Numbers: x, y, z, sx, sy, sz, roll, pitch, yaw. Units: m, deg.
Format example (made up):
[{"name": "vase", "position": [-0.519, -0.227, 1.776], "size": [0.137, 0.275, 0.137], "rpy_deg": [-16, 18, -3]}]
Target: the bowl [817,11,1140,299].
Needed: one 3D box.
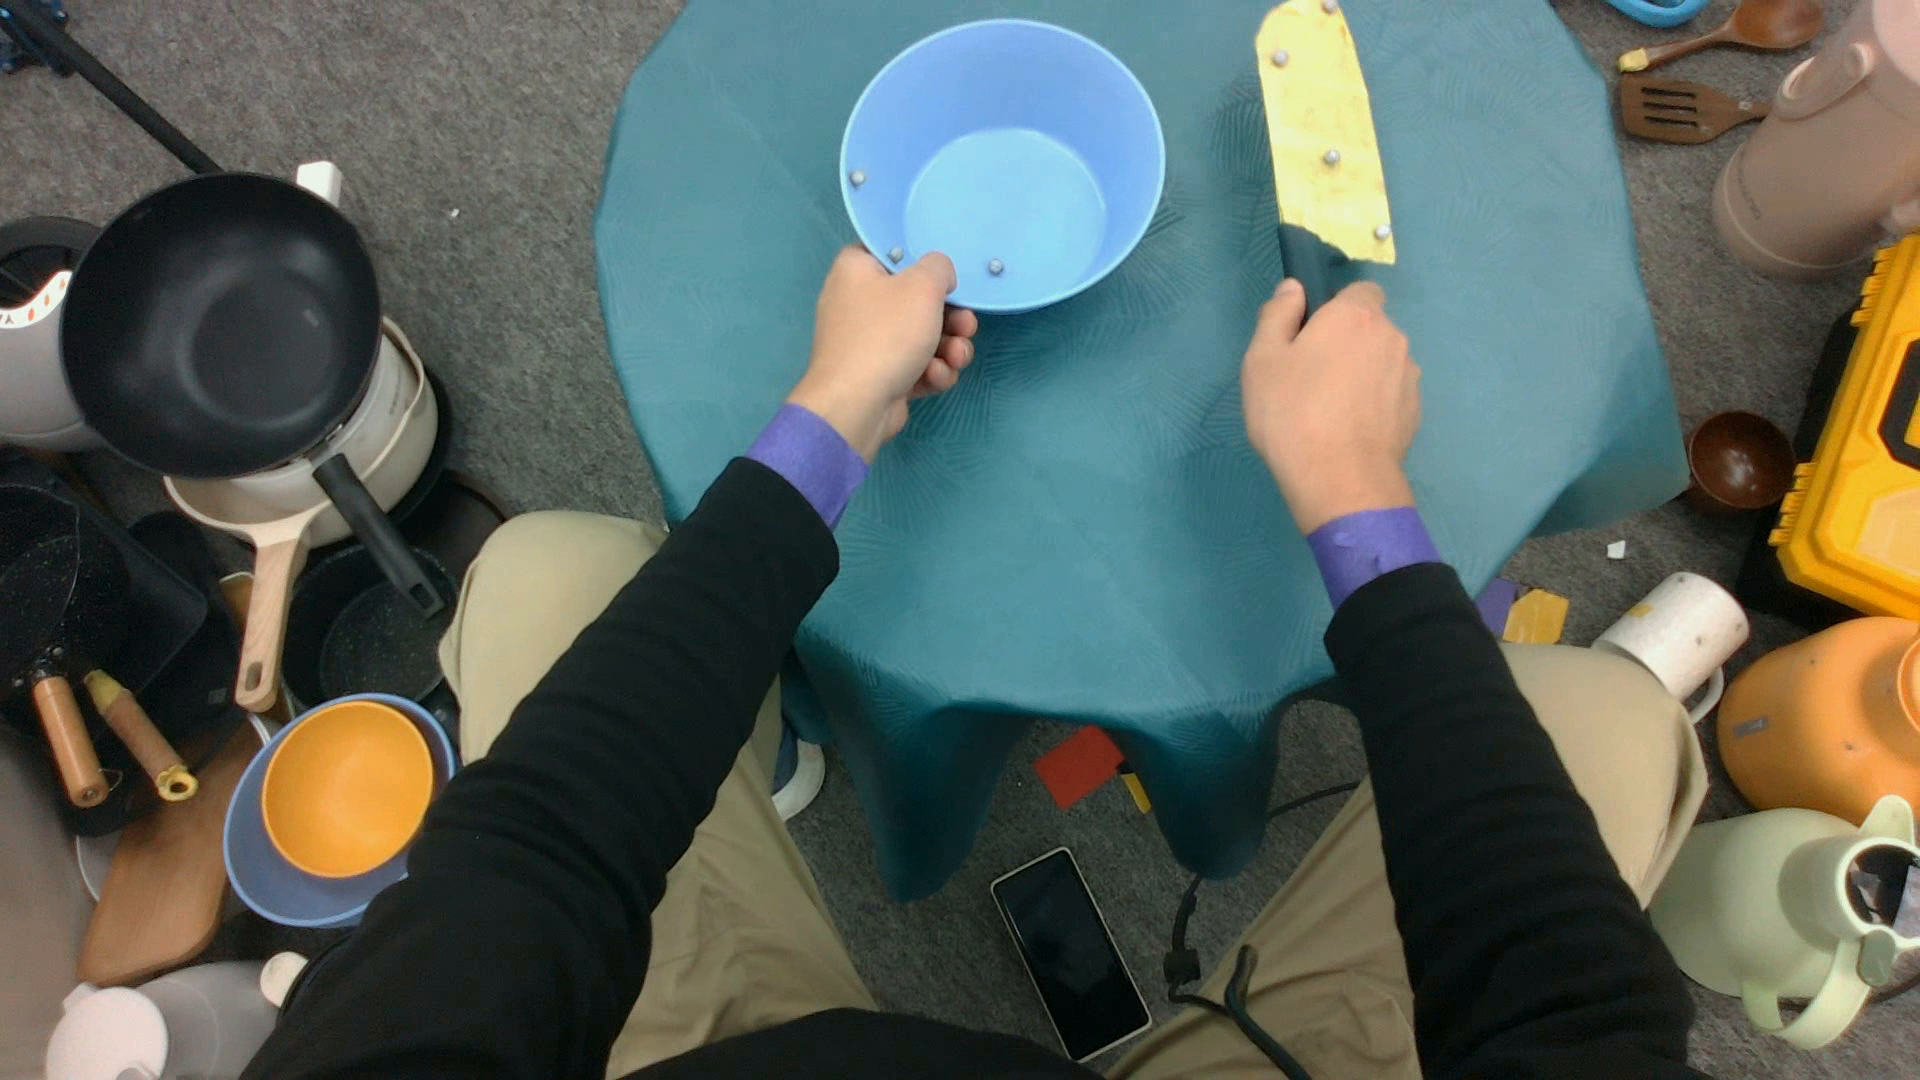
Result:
[{"name": "bowl", "position": [0.011, -0.204, 0.776], "size": [0.176, 0.070, 0.176], "rpy_deg": [0, 73, 1]}]

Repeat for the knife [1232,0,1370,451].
[{"name": "knife", "position": [0.190, -0.183, 0.758], "size": [0.081, 0.027, 0.290], "rpy_deg": [6, 71, -17]}]
